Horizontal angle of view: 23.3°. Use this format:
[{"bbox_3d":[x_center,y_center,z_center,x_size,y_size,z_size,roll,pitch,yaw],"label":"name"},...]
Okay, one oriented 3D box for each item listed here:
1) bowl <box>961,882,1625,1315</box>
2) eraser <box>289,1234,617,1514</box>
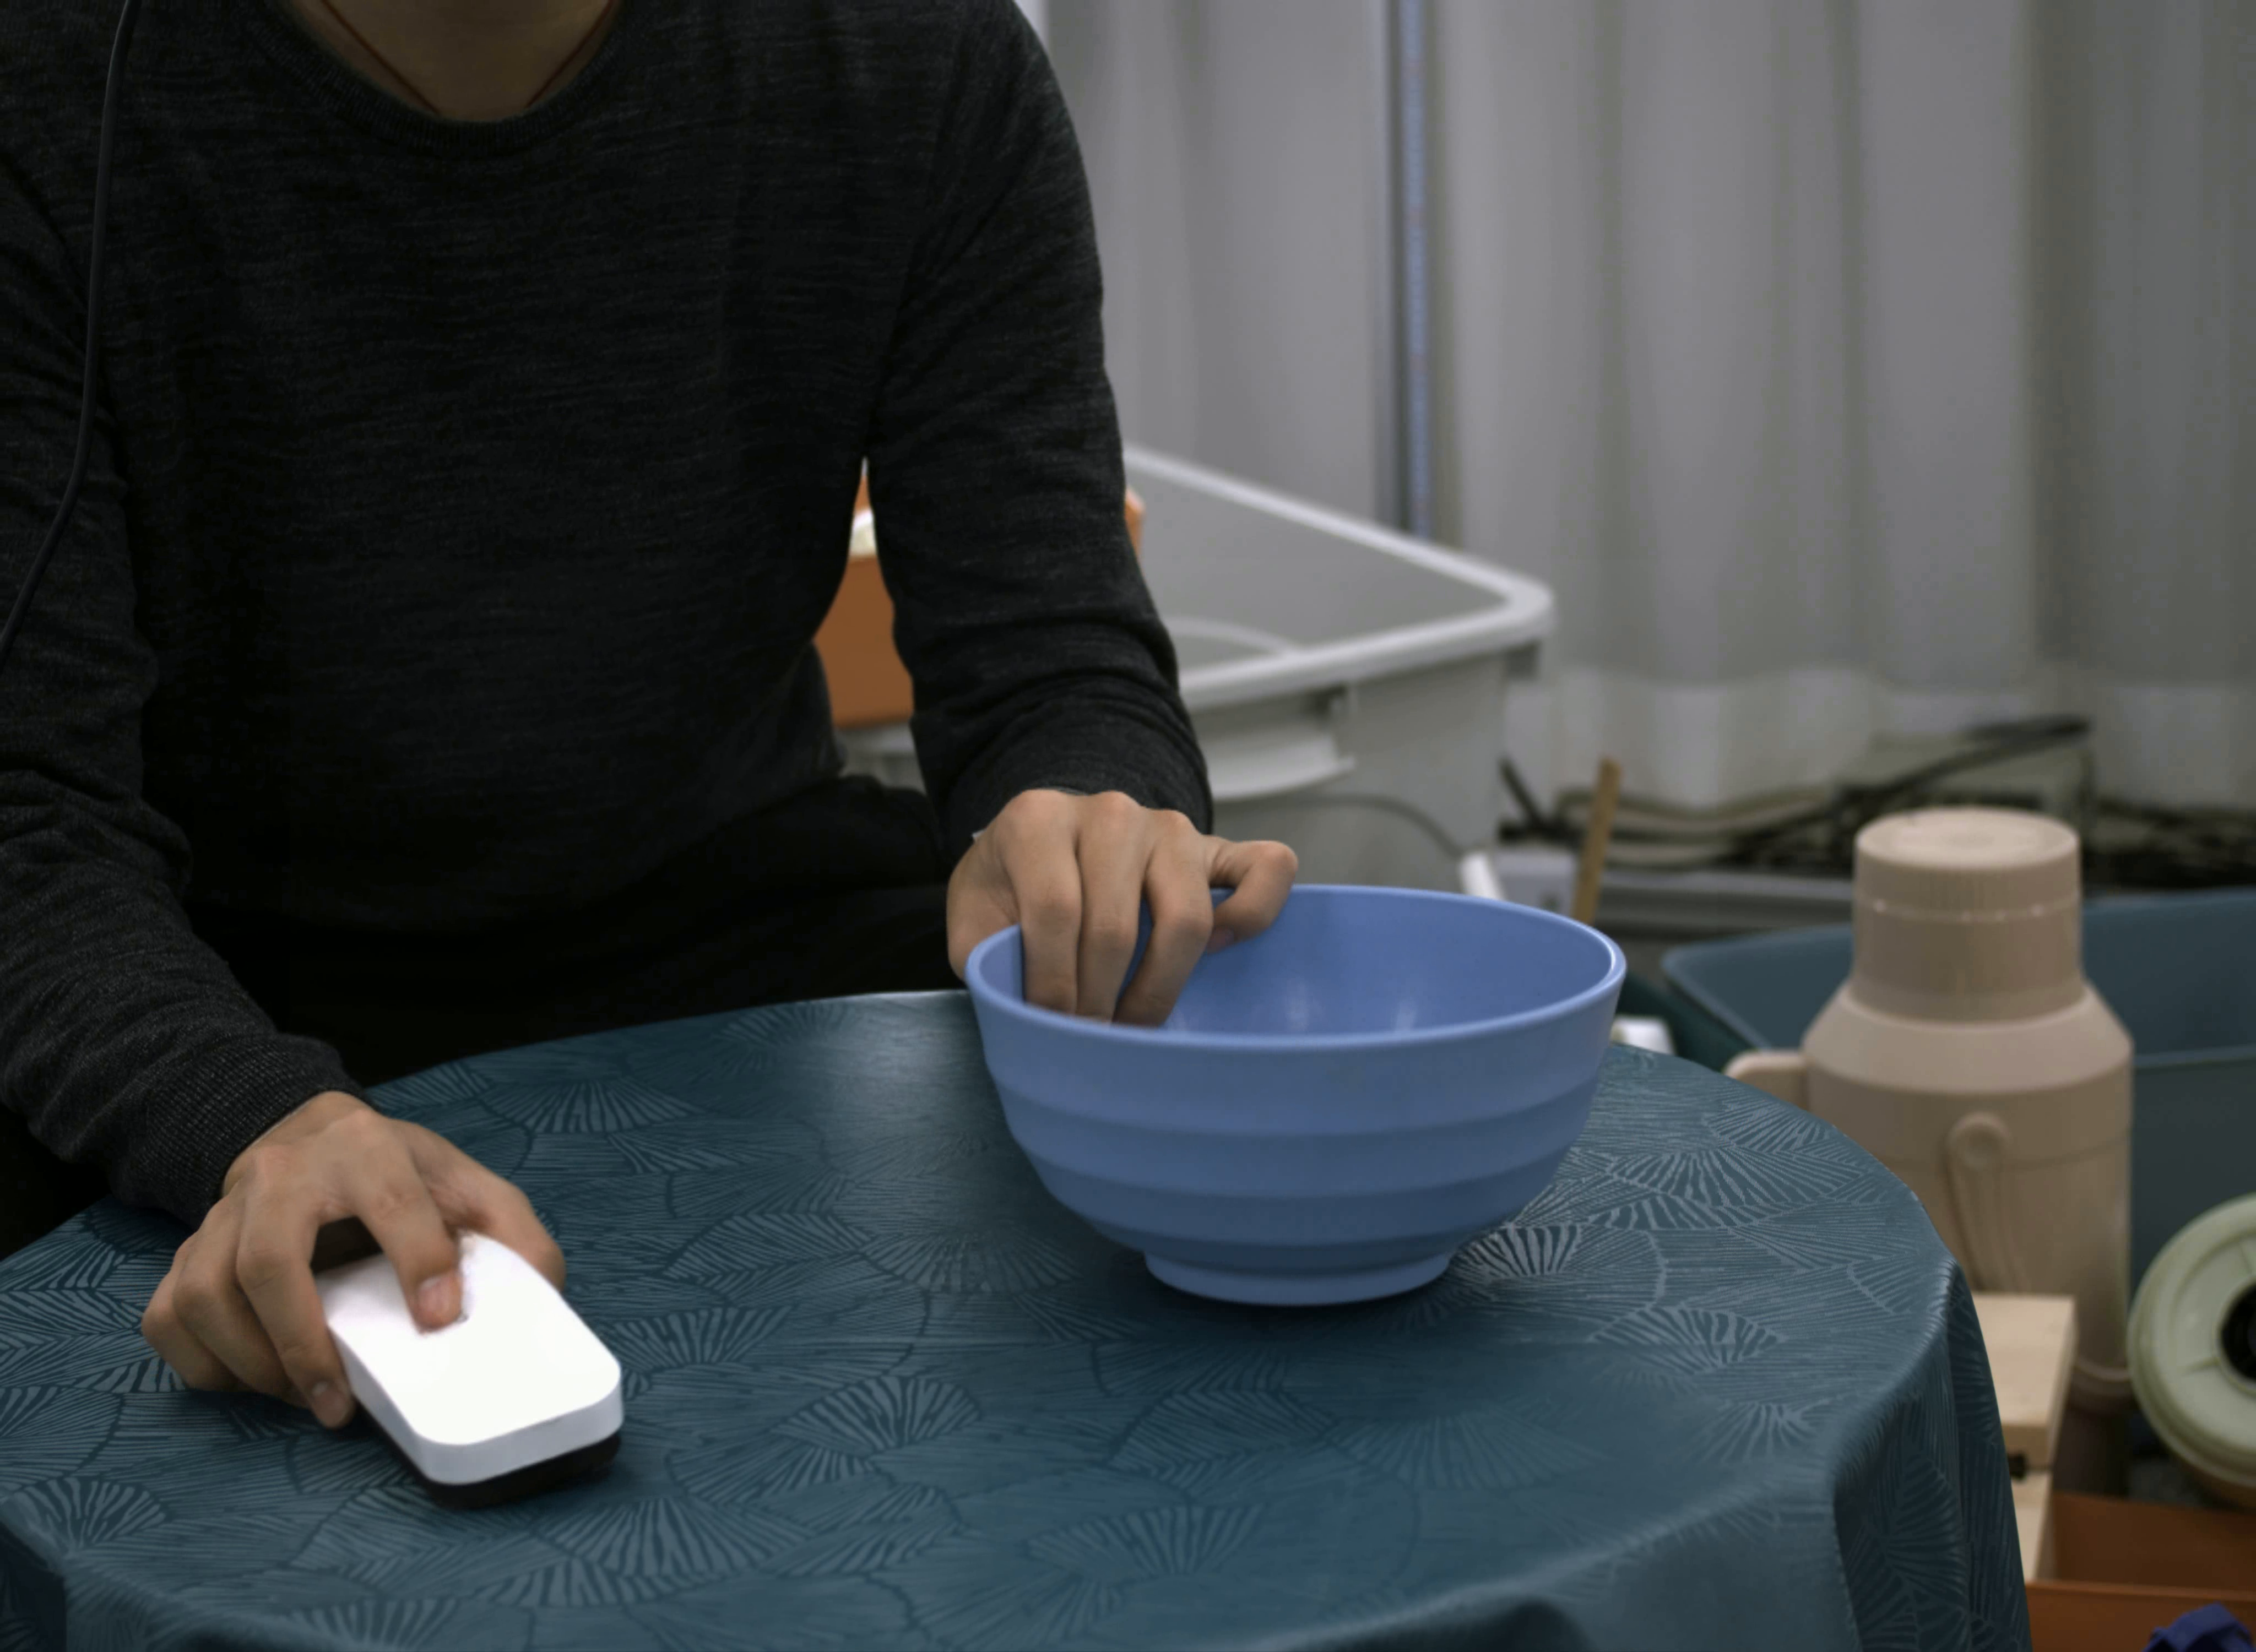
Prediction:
[{"bbox_3d":[0.050,0.086,1.625,0.196,0.095,0.197,-2,13,0],"label":"bowl"},{"bbox_3d":[-0.189,0.150,1.538,0.063,0.034,0.132,-13,23,-22],"label":"eraser"}]
